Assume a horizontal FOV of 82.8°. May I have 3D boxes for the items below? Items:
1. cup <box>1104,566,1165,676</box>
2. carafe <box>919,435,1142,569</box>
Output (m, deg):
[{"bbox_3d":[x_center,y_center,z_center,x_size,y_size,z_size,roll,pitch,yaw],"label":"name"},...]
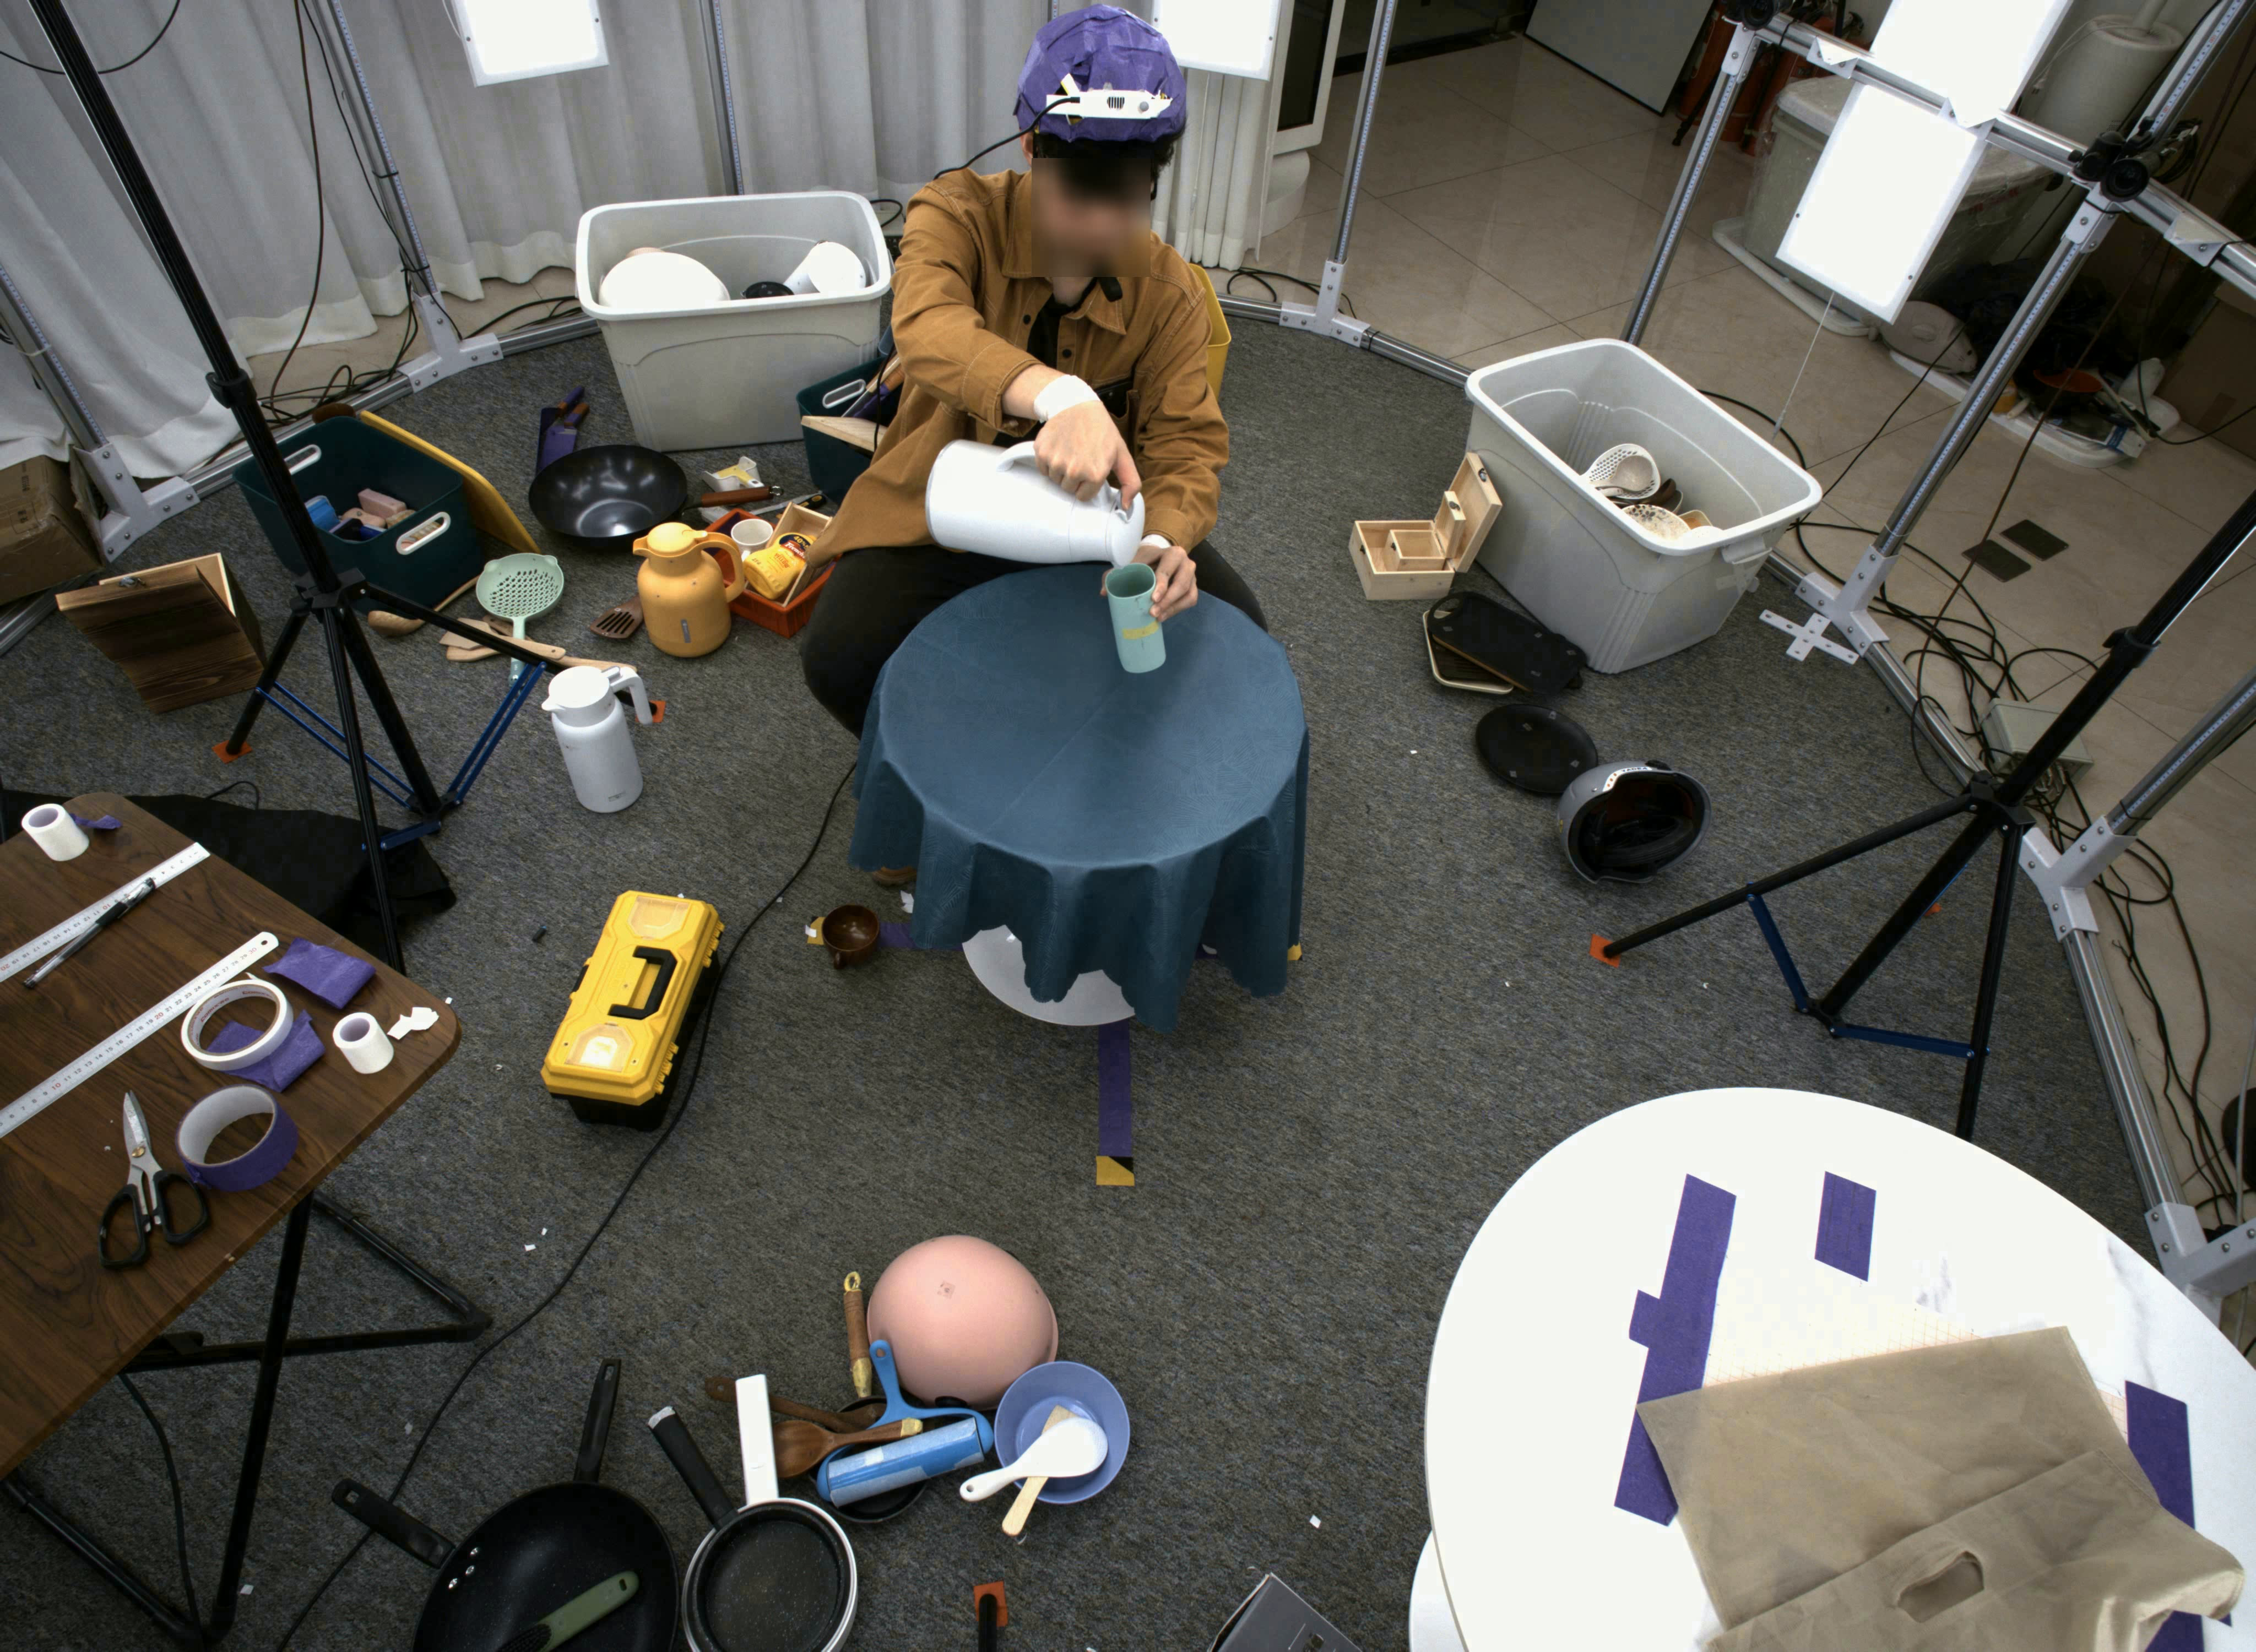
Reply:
[{"bbox_3d":[0.009,-0.259,1.623,0.067,0.129,0.068,-5,51,6],"label":"cup"},{"bbox_3d":[-0.112,-0.387,1.527,0.250,0.164,0.135,16,60,20],"label":"carafe"}]
